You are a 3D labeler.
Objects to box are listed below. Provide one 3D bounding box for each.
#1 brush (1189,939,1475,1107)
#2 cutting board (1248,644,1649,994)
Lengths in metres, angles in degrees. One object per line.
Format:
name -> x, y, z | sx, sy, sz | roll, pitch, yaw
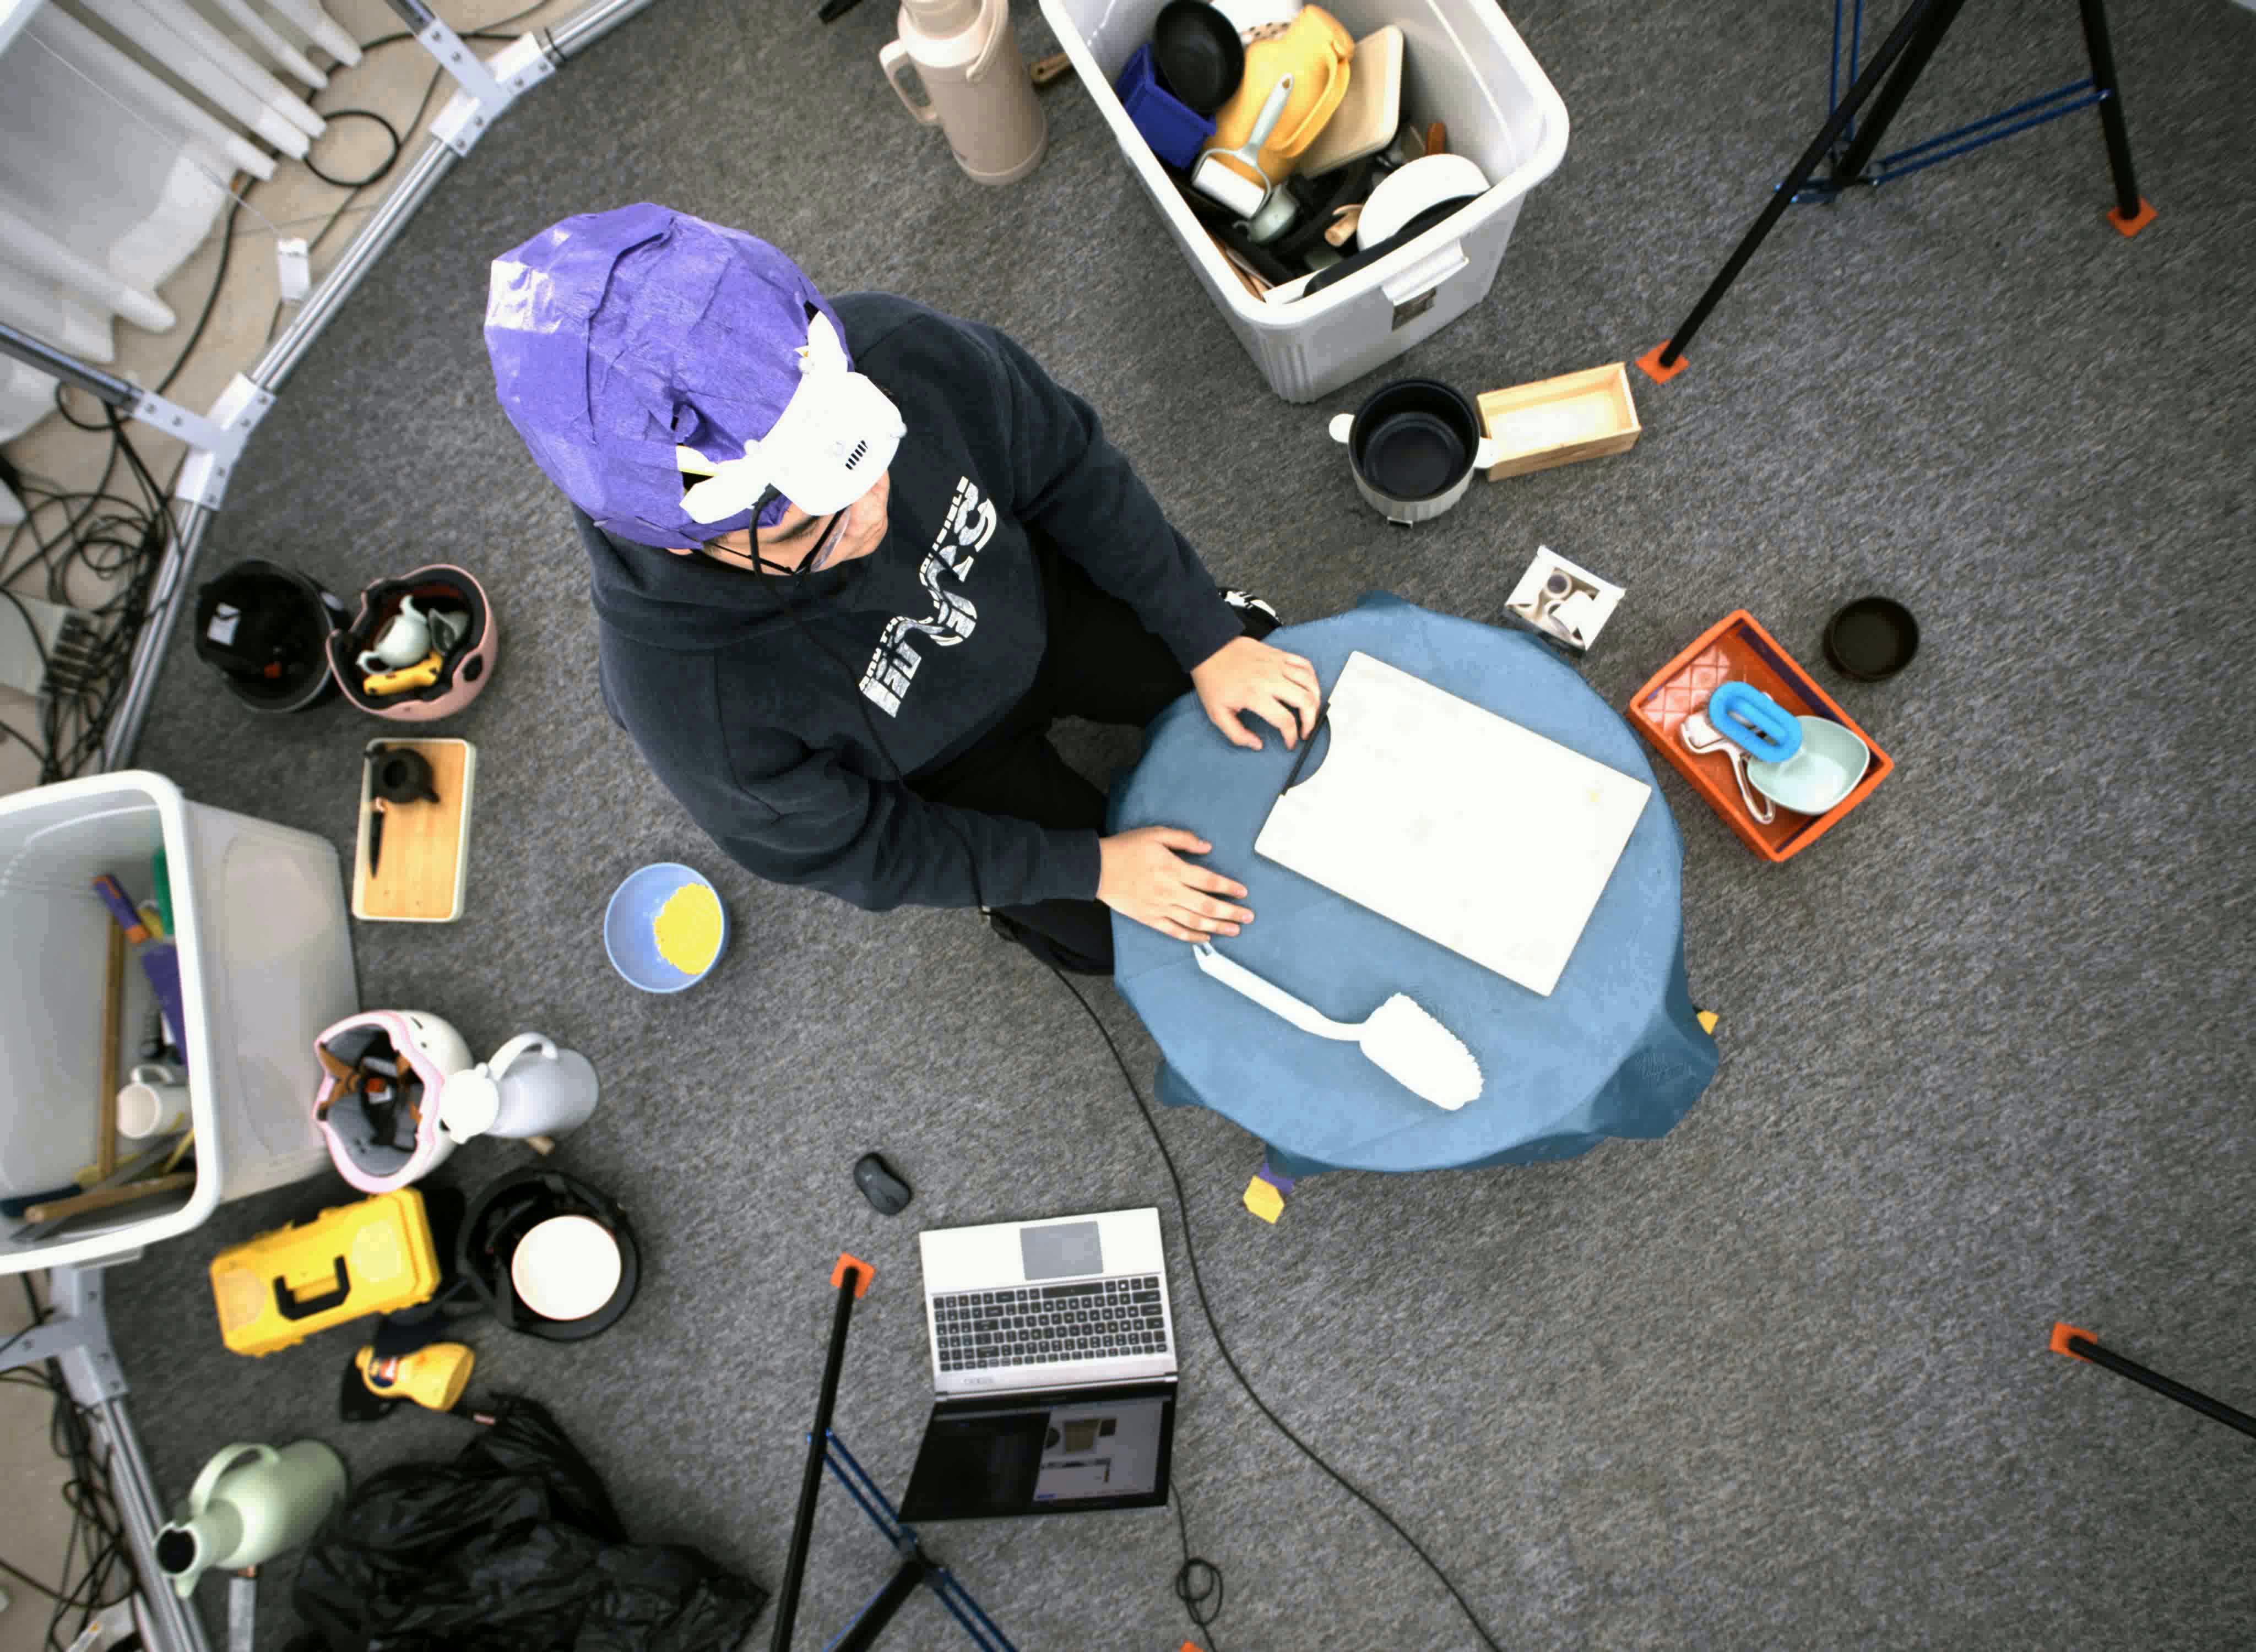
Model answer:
brush -> 0.211, 0.185, 1.423 | 0.325, 0.082, 0.085 | 29, 100, 10
cutting board -> 0.332, -0.011, 1.446 | 0.348, 0.023, 0.251 | 26, 91, 11
